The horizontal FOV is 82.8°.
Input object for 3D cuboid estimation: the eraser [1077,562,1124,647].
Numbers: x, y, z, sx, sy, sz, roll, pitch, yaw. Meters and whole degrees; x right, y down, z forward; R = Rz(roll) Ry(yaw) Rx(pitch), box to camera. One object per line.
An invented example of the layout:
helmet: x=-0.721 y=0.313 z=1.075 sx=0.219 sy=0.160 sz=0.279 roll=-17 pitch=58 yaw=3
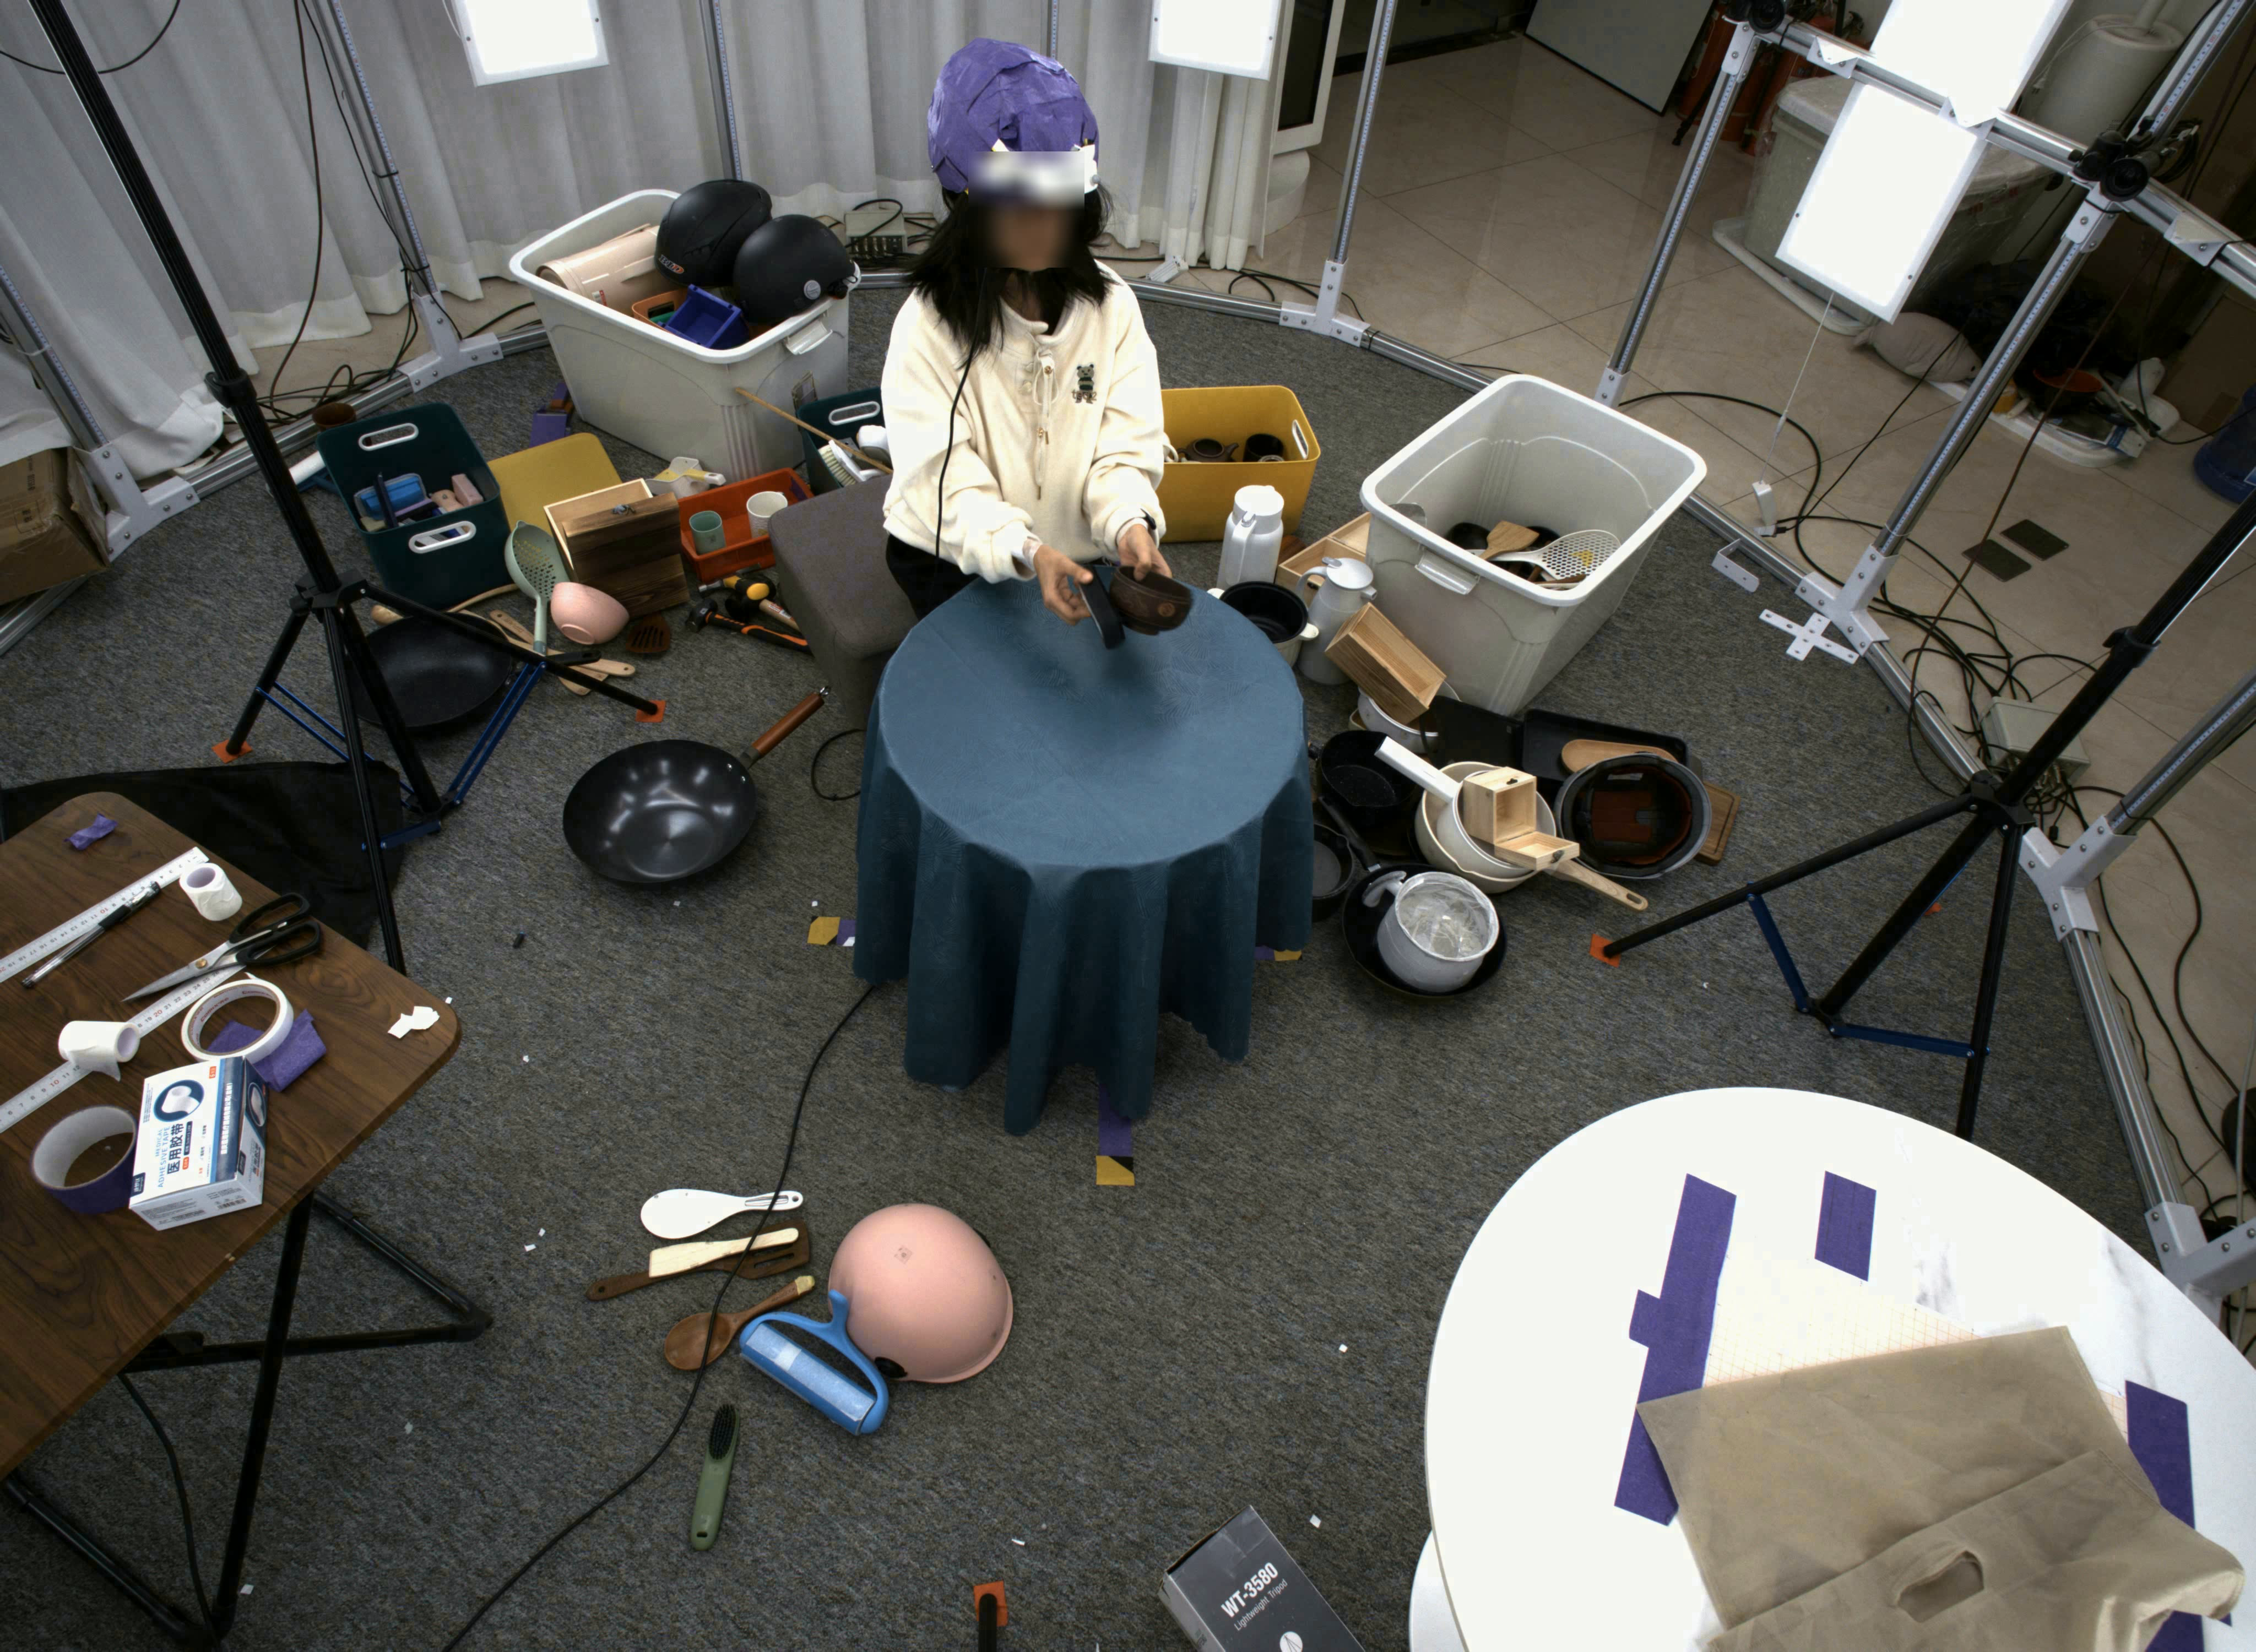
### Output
eraser: x=-0.038 y=-0.305 z=1.763 sx=0.030 sy=0.052 sz=0.128 roll=-17 pitch=48 yaw=-6

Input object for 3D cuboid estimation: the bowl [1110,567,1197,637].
bowl: x=0.030 y=-0.304 z=1.774 sx=0.117 sy=0.069 sz=0.120 roll=16 pitch=22 yaw=-7
